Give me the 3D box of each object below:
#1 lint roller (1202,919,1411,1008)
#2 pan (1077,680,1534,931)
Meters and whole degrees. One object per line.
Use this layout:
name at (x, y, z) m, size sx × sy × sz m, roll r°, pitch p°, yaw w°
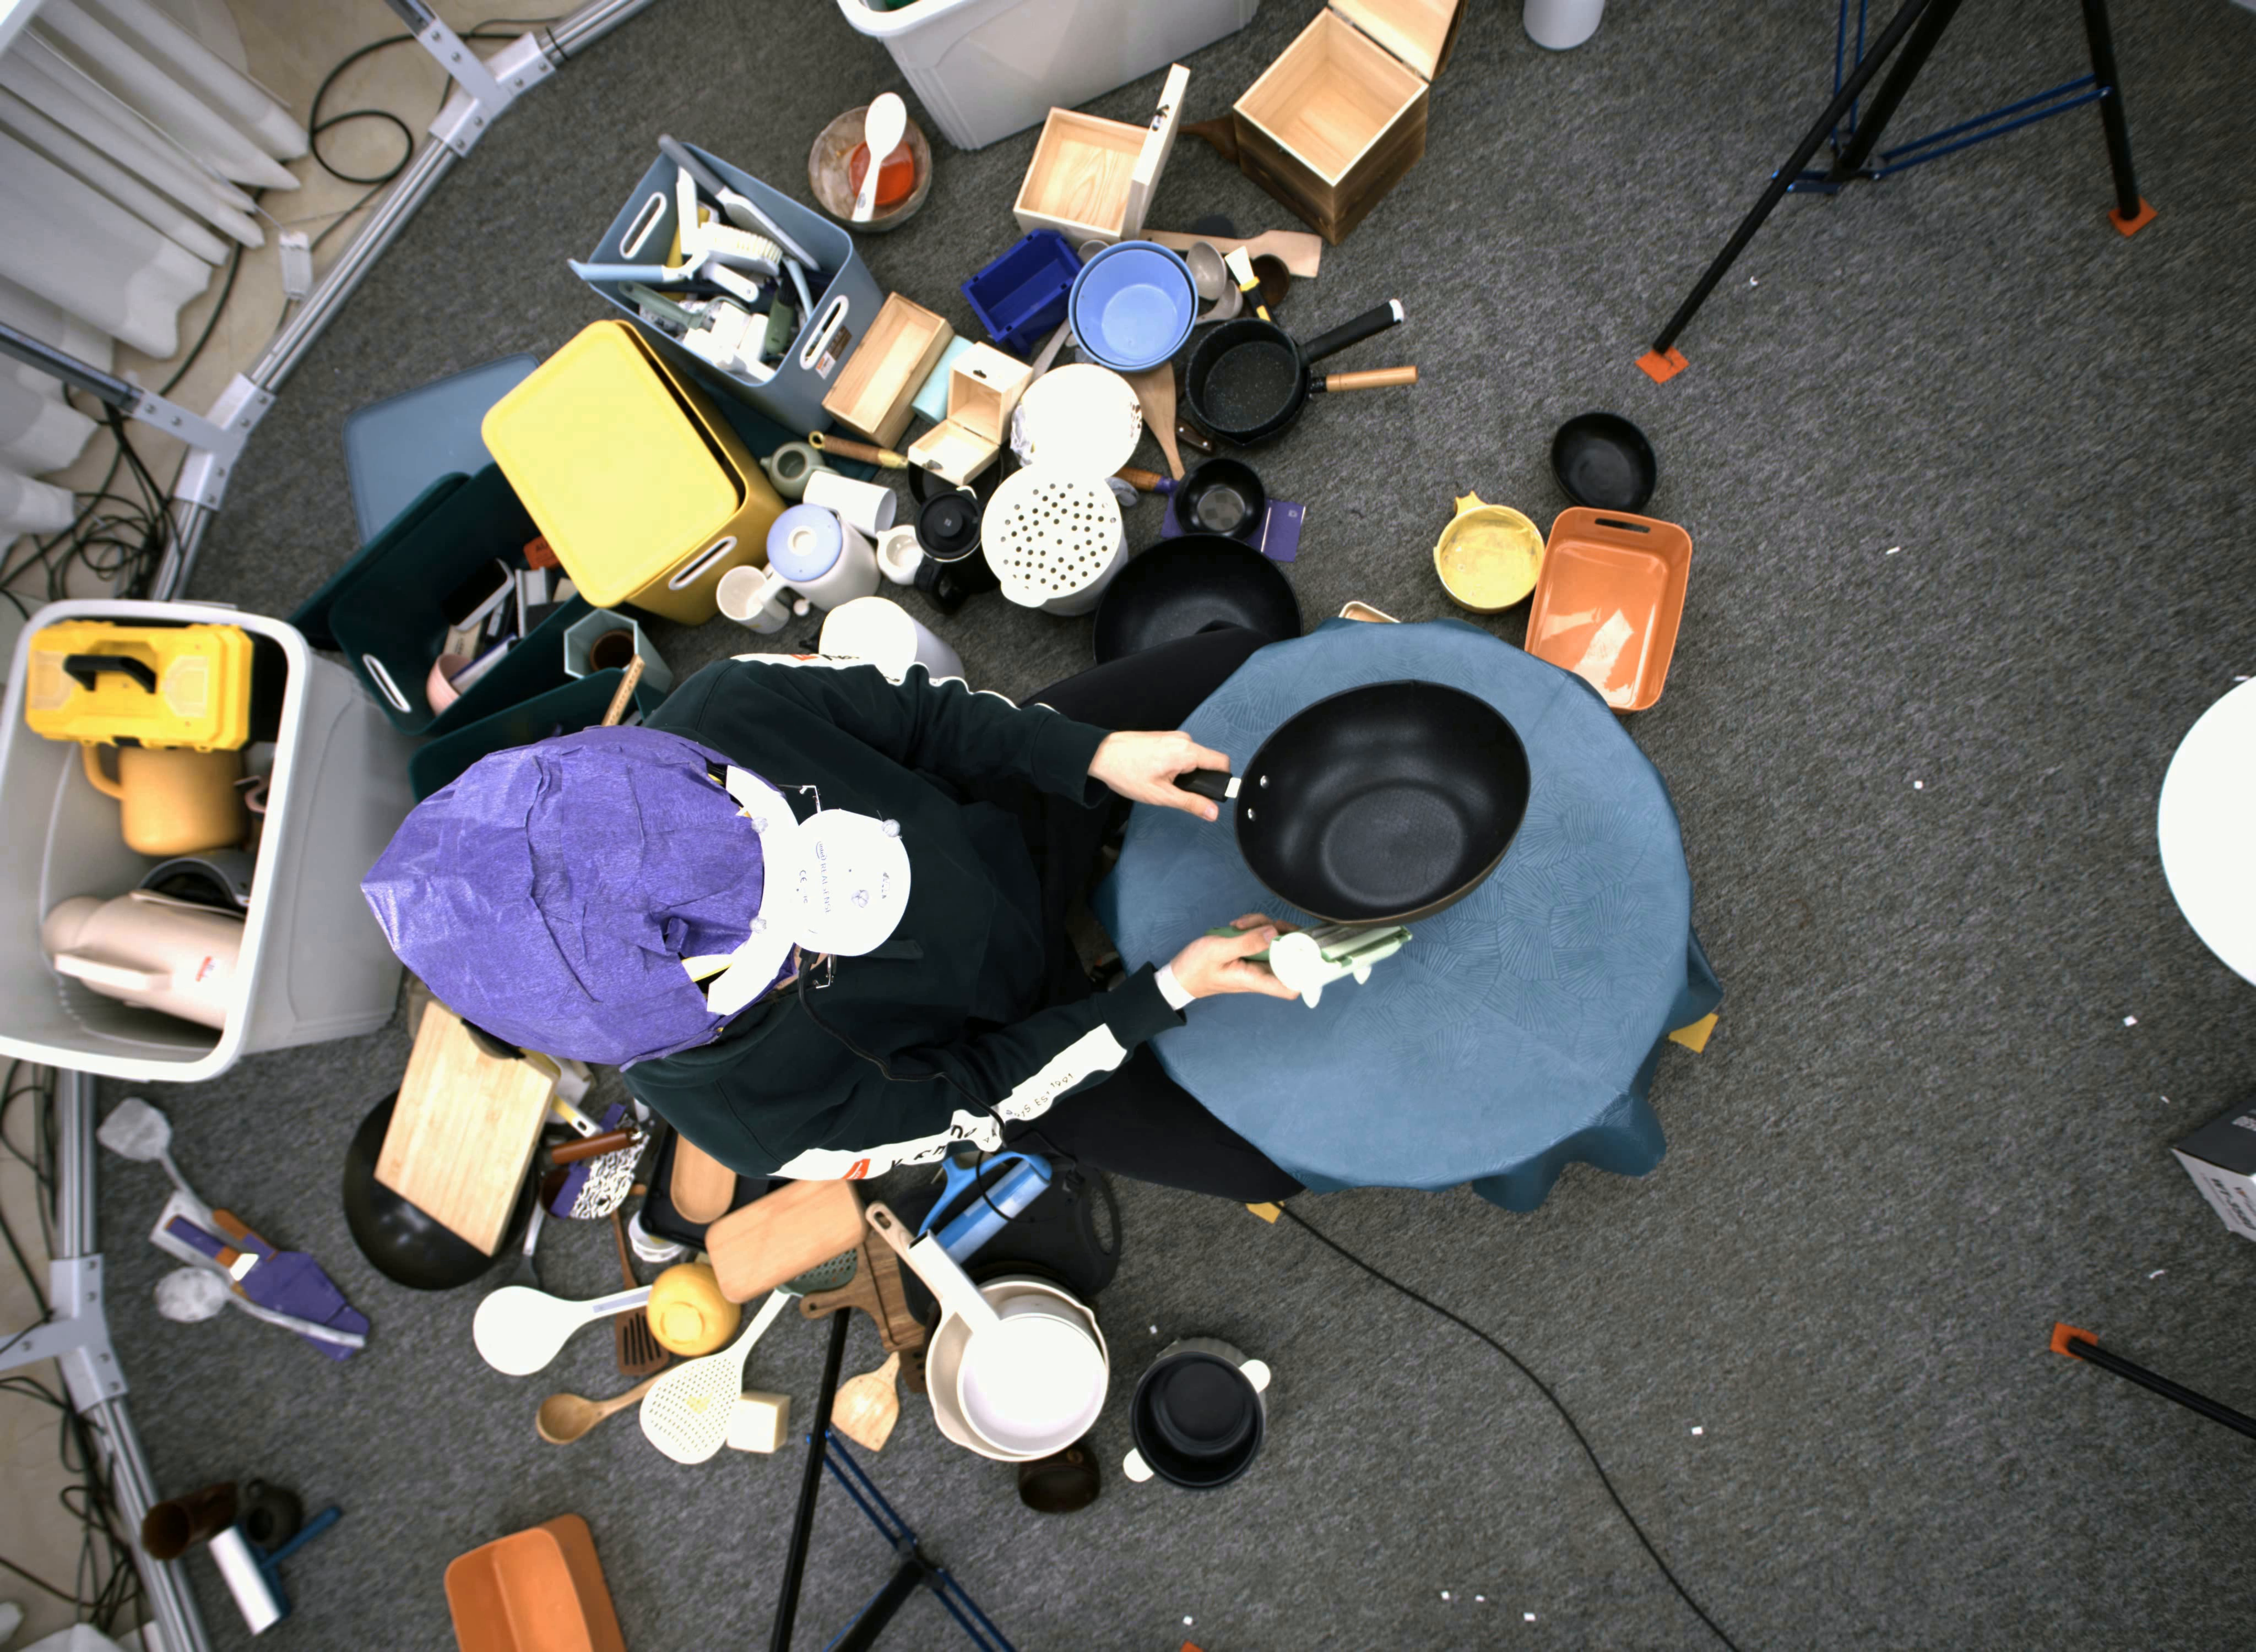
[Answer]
lint roller at (0.157, 0.129, 1.343) m, size 0.186 × 0.196 × 0.082 m, roll -14°, pitch 89°, yaw 35°
pan at (0.163, -0.016, 1.344) m, size 0.465 × 0.088 × 0.281 m, roll 5°, pitch 58°, yaw 28°
